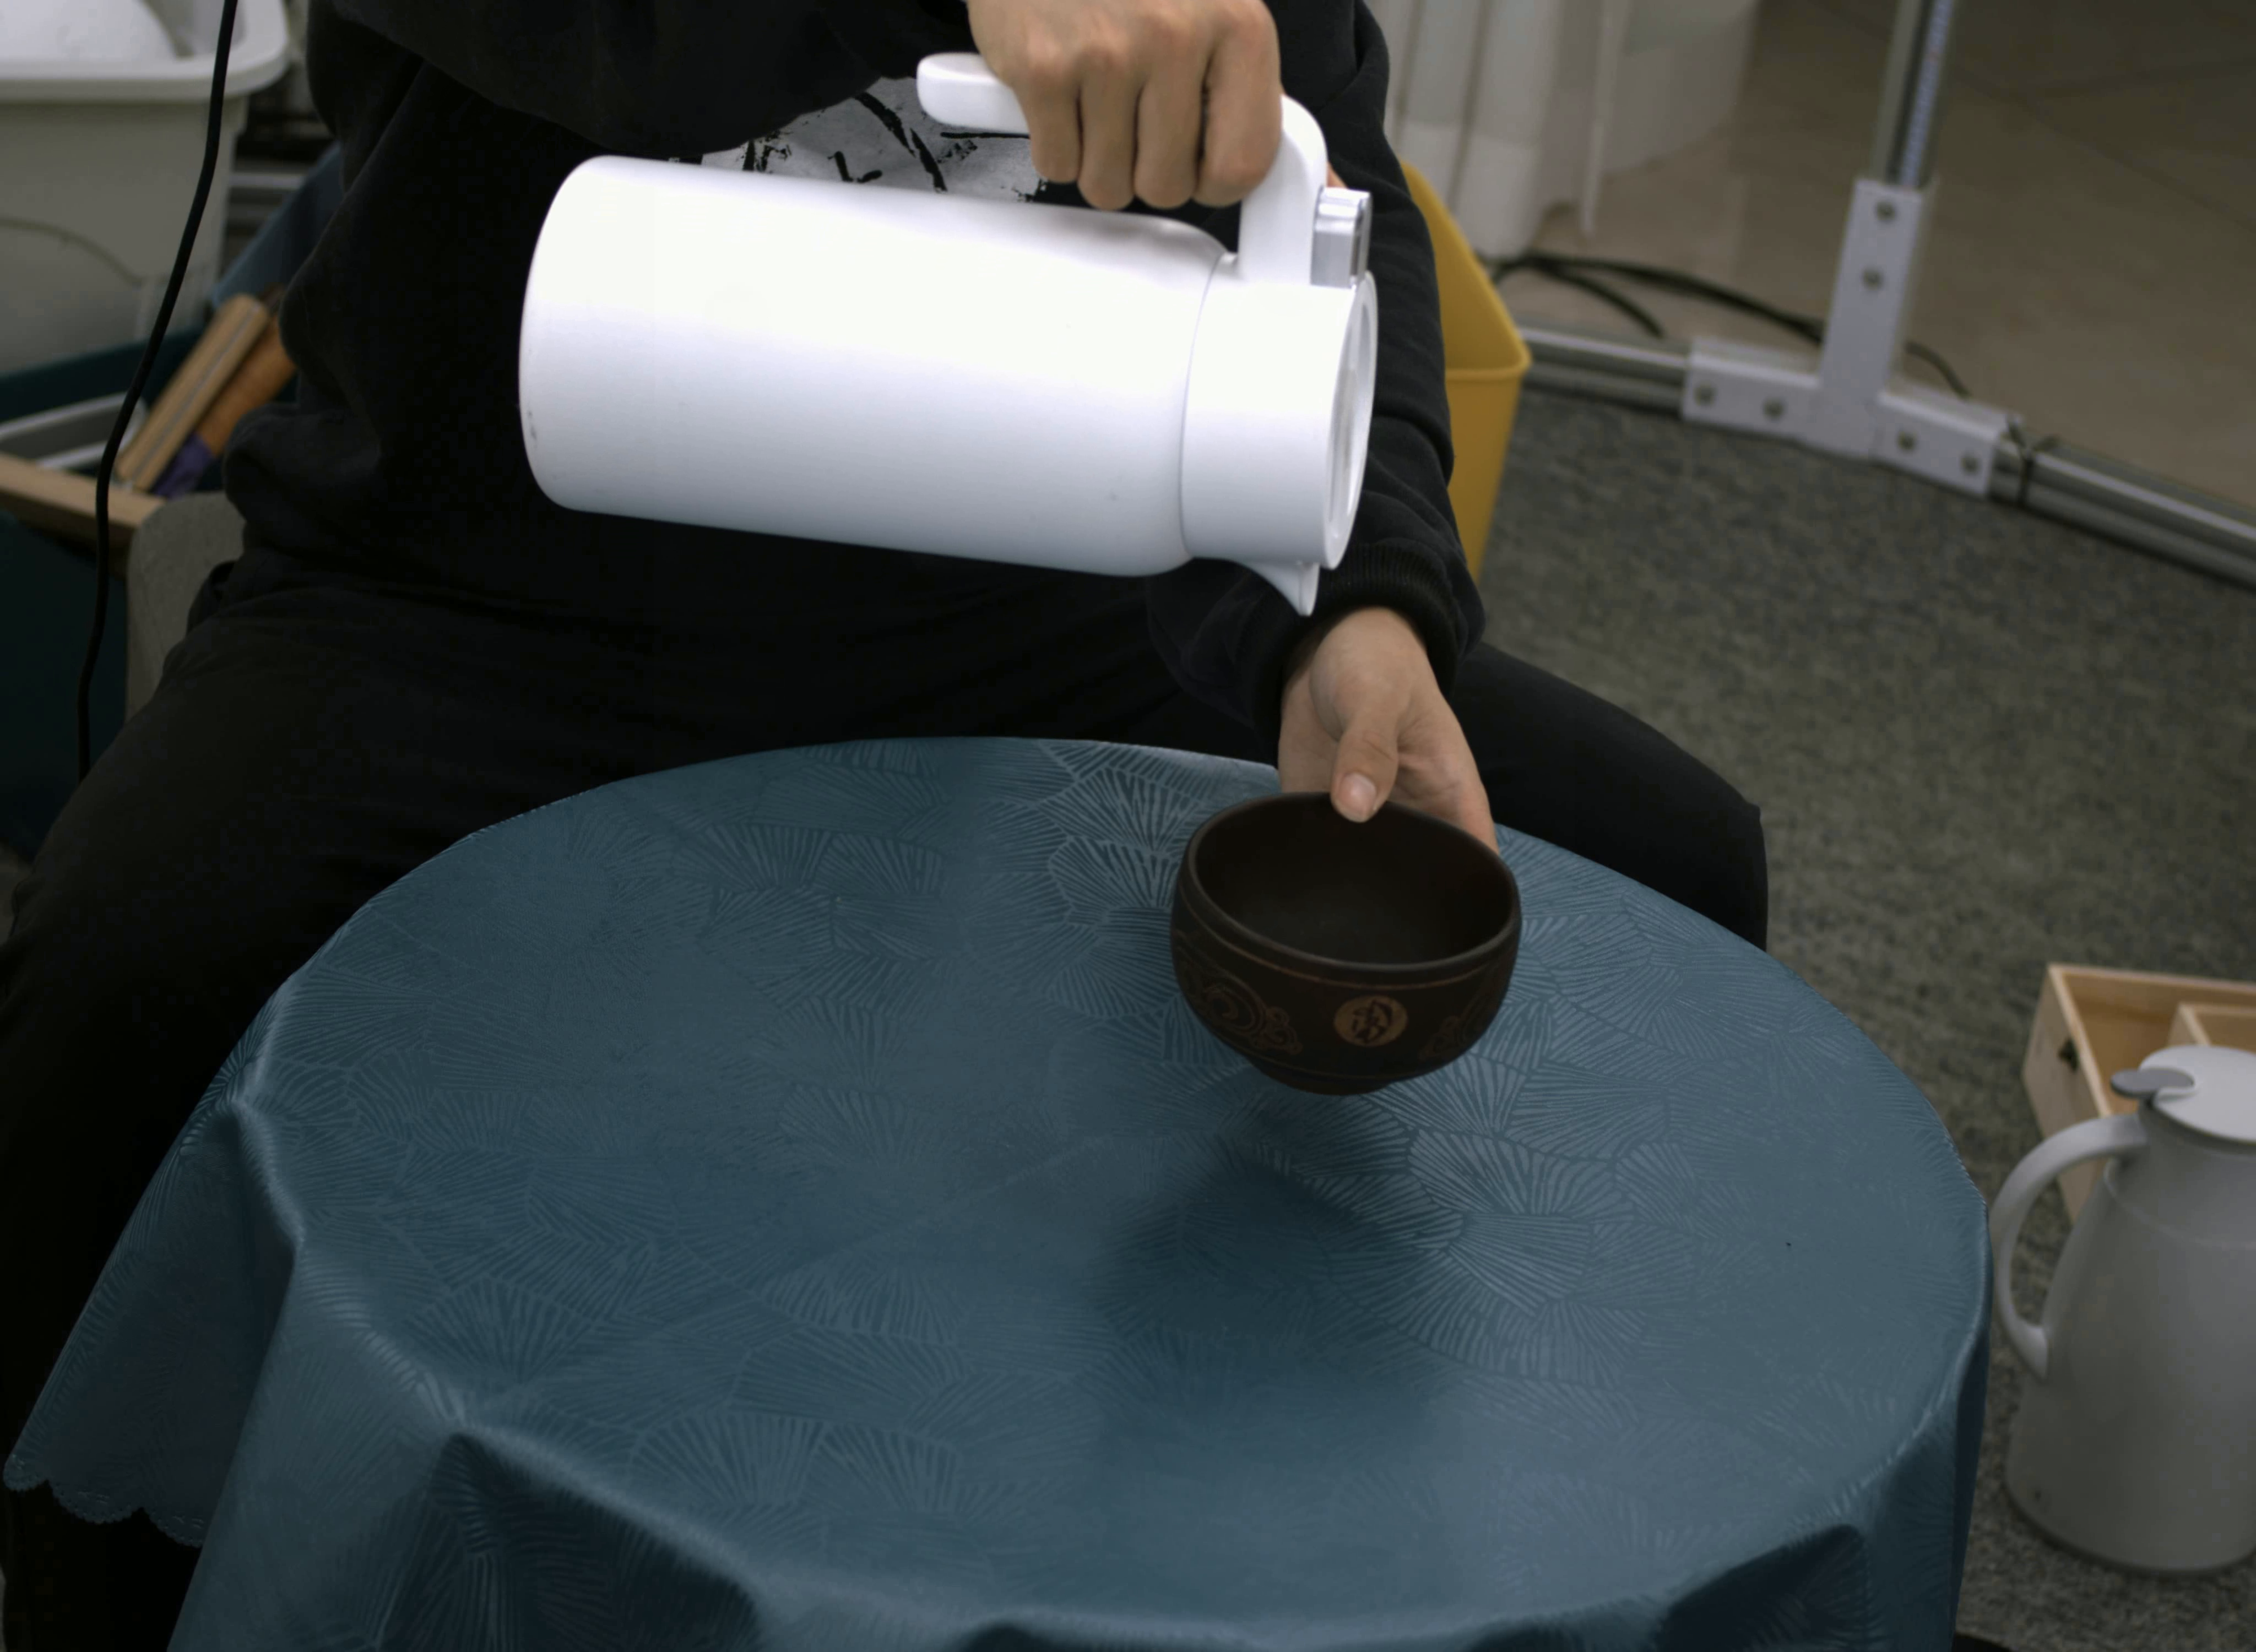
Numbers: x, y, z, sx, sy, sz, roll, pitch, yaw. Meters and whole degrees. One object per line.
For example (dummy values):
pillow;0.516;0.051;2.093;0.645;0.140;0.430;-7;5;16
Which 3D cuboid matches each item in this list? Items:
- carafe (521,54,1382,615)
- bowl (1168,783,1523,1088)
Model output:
carafe;-0.057;-0.163;1.729;0.269;0.172;0.124;8;24;12
bowl;0.070;0.044;1.780;0.117;0.069;0.119;5;29;-3
